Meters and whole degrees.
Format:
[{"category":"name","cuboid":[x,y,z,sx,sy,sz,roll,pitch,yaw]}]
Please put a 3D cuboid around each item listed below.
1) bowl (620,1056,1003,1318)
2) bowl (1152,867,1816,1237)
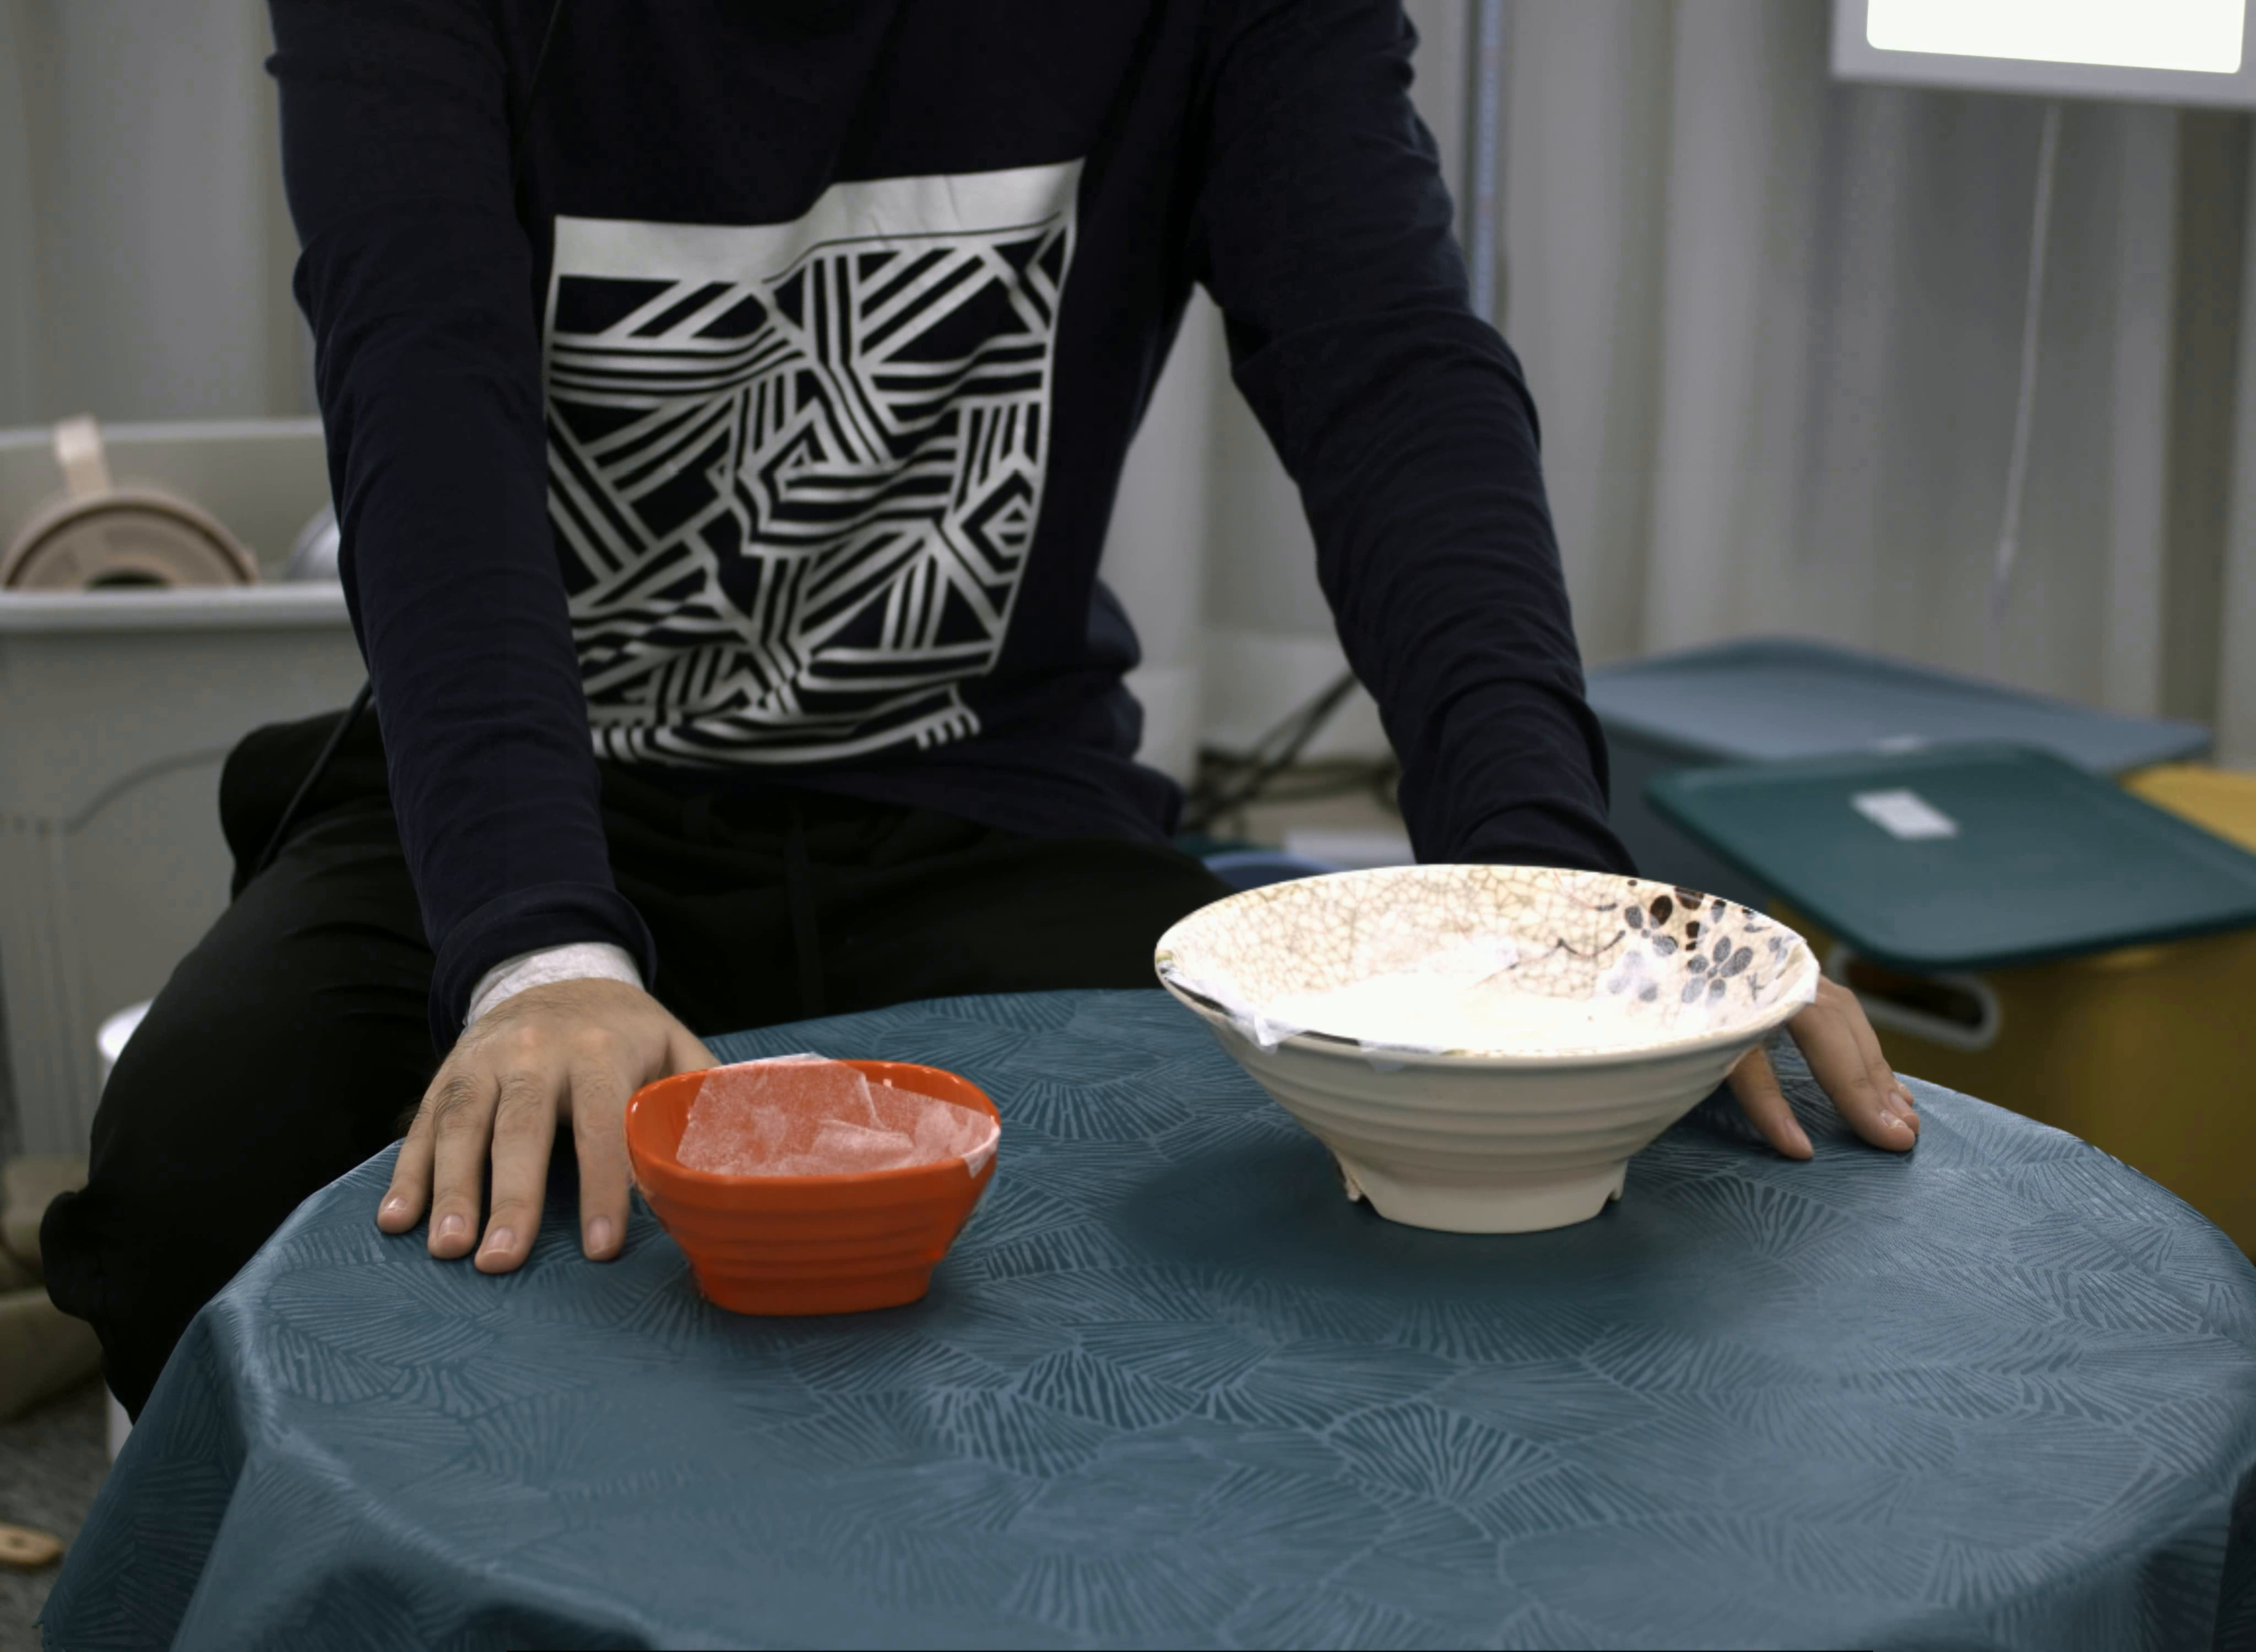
[{"category":"bowl","cuboid":[-0.092,0.108,1.541,0.118,0.052,0.118,0,16,1]},{"category":"bowl","cuboid":[0.108,0.076,1.619,0.203,0.078,0.203,1,15,0]}]
